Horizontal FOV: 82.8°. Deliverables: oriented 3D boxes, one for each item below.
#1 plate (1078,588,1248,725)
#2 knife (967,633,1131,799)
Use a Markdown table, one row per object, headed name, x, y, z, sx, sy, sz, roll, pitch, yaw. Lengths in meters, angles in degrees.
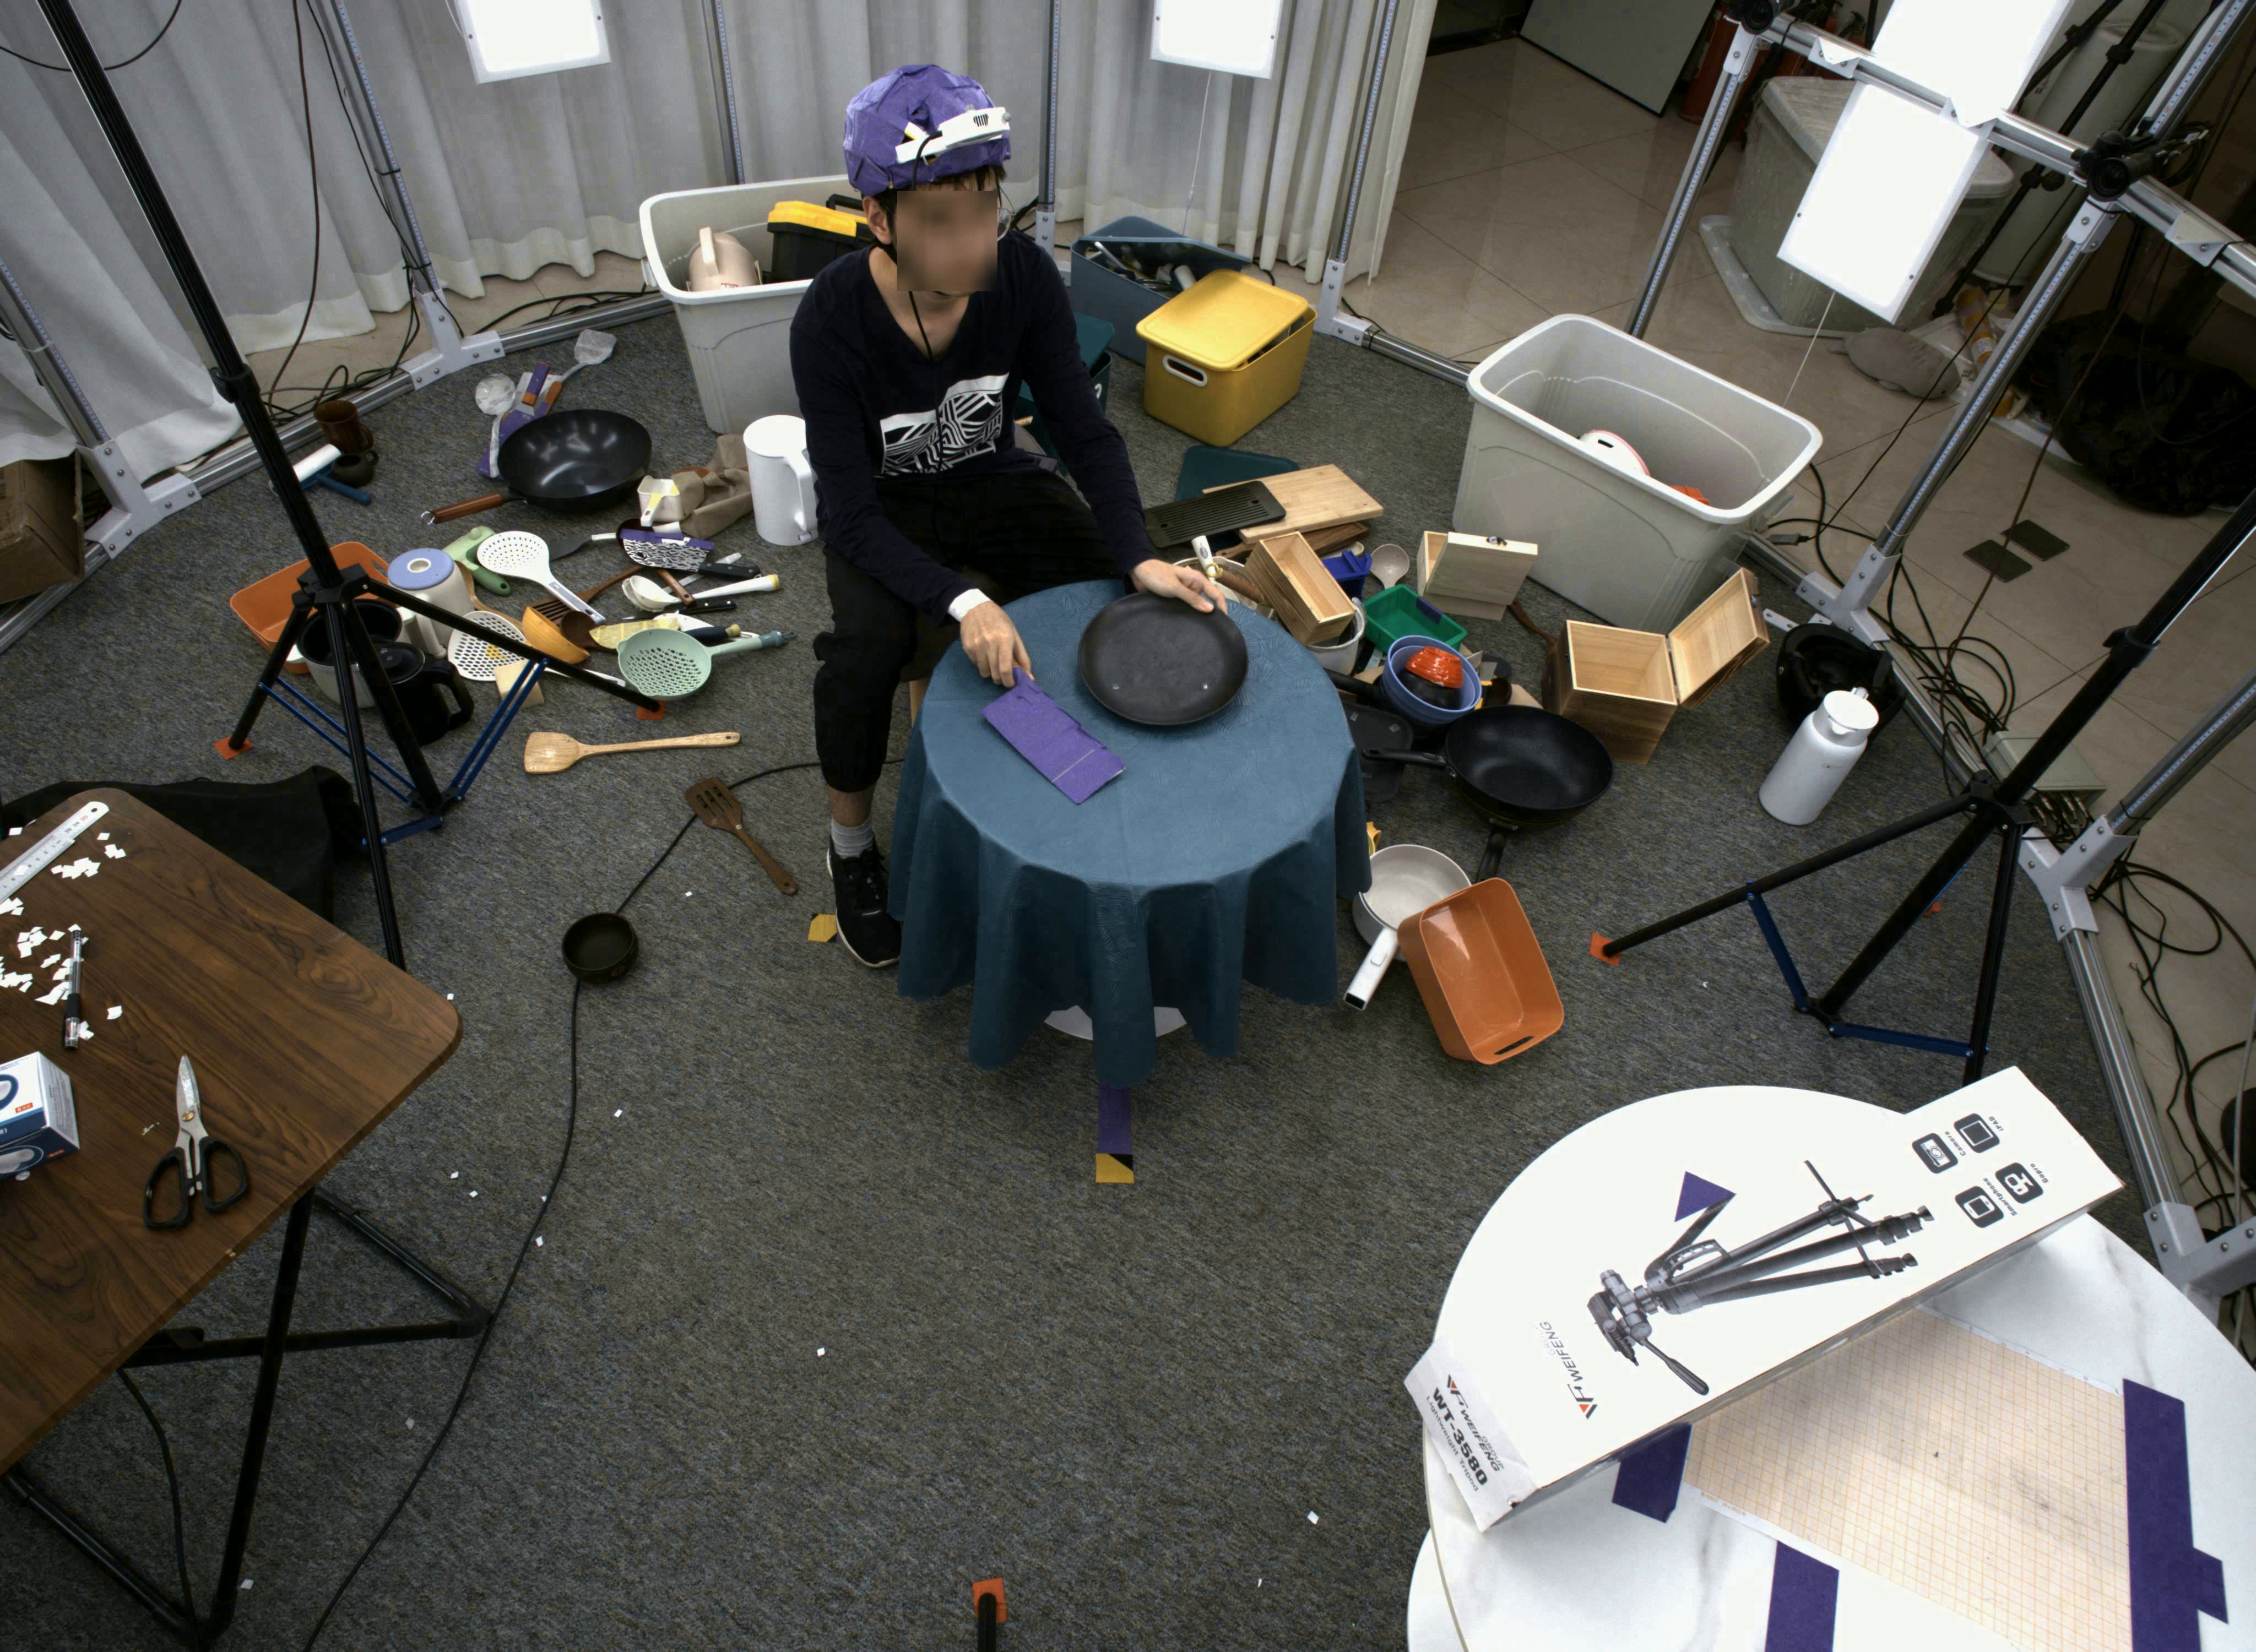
| name | x | y | z | sx | sy | sz | roll | pitch | yaw |
| --- | --- | --- | --- | --- | --- | --- | --- | --- | --- |
| plate | 0.050 | -0.241 | 1.843 | 0.244 | 0.023 | 0.250 | 0 | 58 | -1 |
| knife | -0.137 | -0.154 | 1.765 | 0.104 | 0.031 | 0.320 | -38 | 61 | -20 |
